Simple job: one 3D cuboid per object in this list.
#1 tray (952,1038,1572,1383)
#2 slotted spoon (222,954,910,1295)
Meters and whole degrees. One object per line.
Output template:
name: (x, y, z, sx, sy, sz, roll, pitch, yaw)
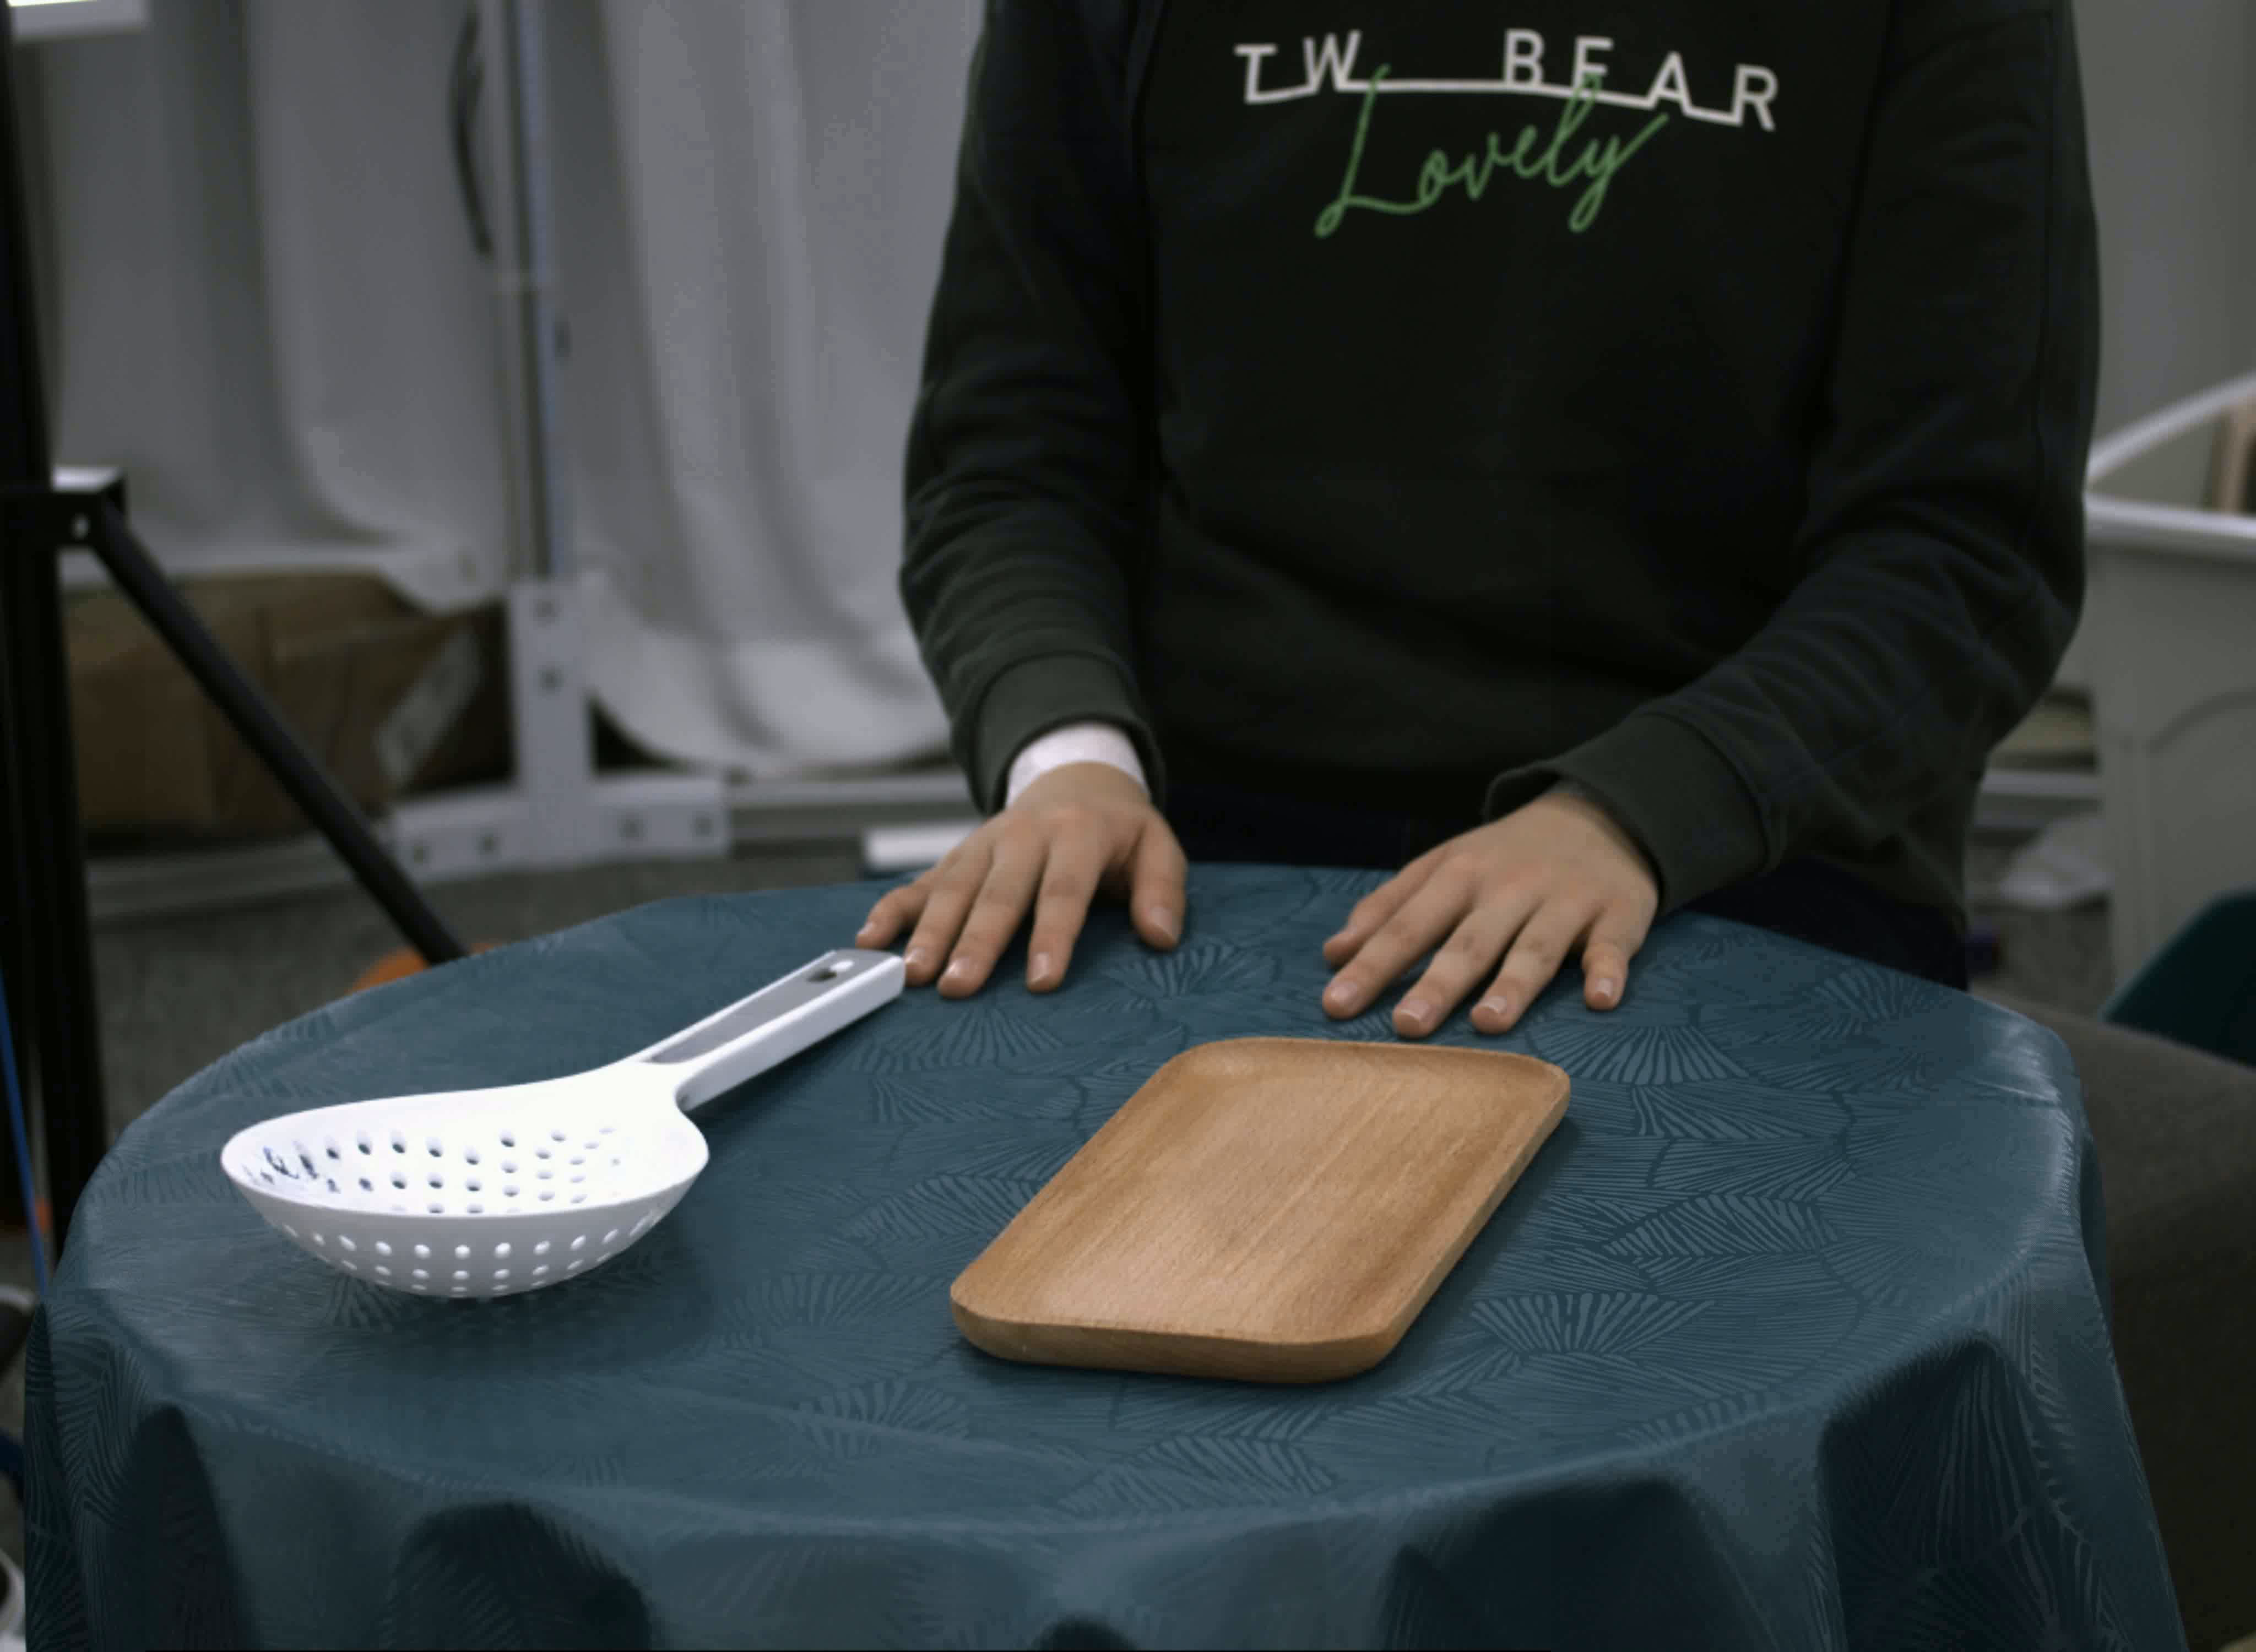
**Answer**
tray: (0.043, 0.107, 1.522, 0.132, 0.023, 0.248, 5, 16, 18)
slotted spoon: (-0.147, 0.080, 1.599, 0.138, 0.046, 0.345, 6, 17, 21)
